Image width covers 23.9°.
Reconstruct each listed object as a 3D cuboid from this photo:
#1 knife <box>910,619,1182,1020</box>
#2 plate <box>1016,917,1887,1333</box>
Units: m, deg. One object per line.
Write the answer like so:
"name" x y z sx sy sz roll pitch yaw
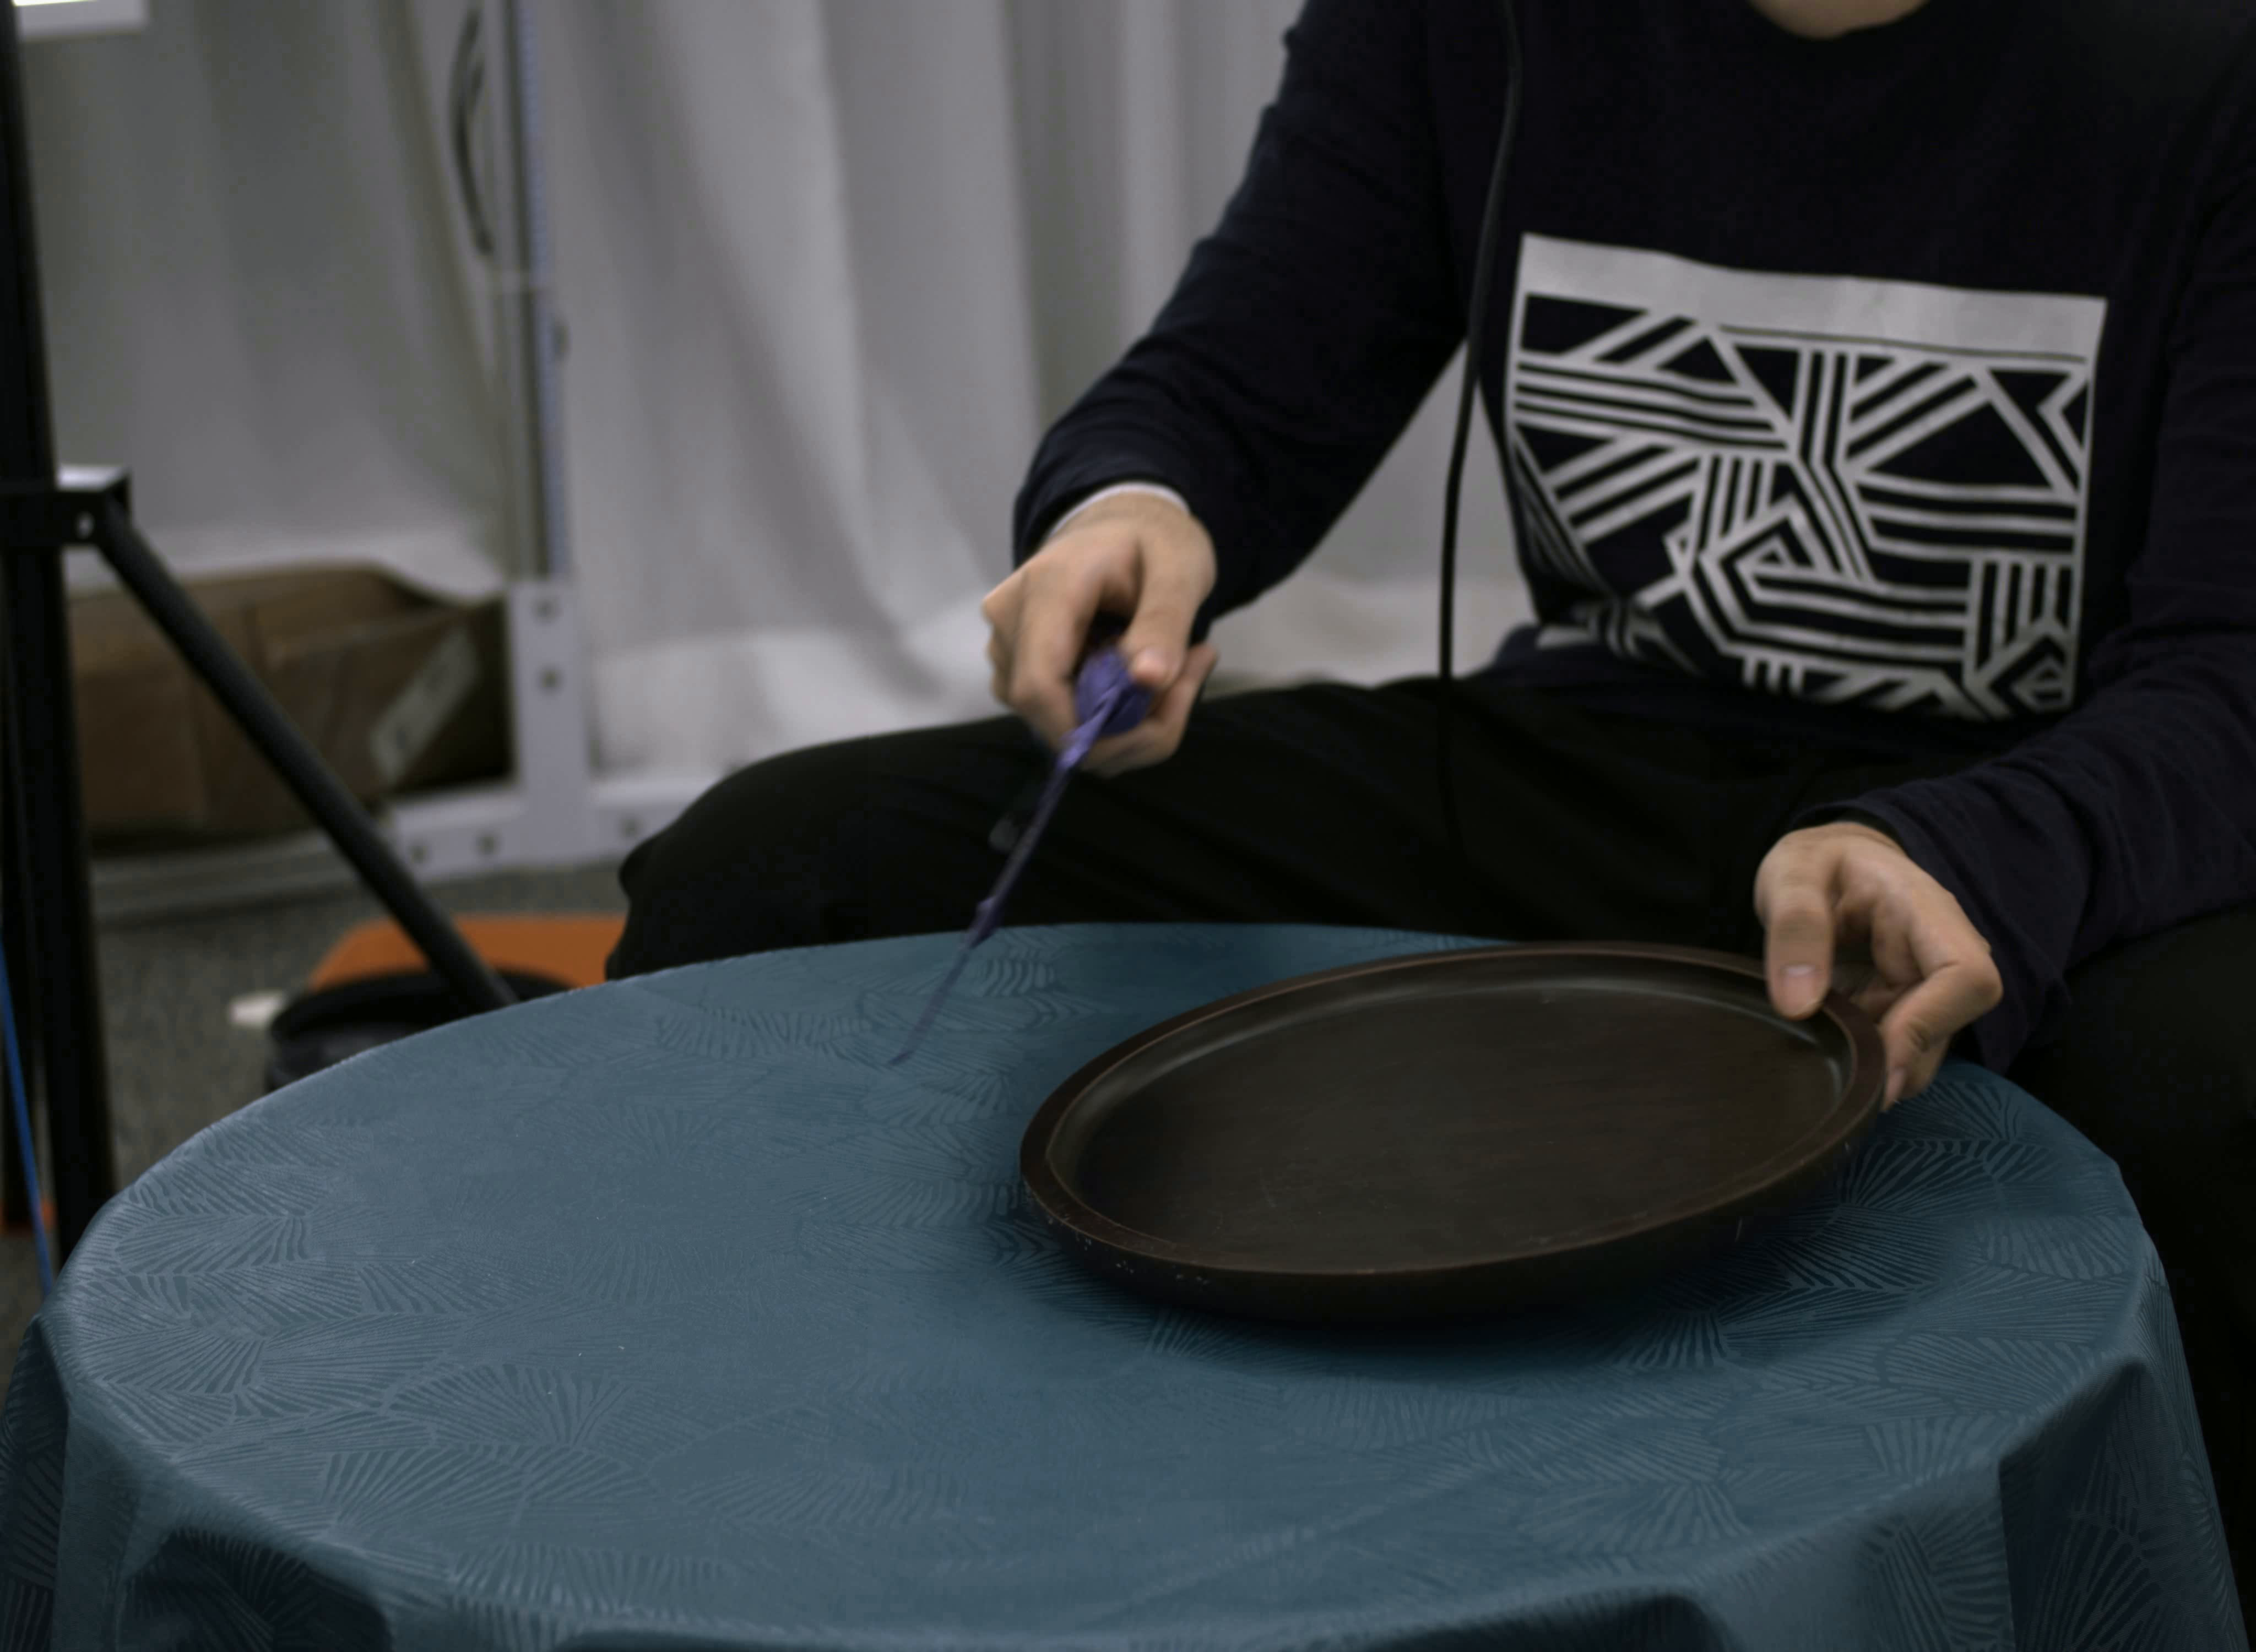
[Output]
"knife" -0.028 -0.005 1.652 0.032 0.104 0.314 31 12 1
"plate" 0.094 0.087 1.531 0.254 0.029 0.256 -10 19 2
